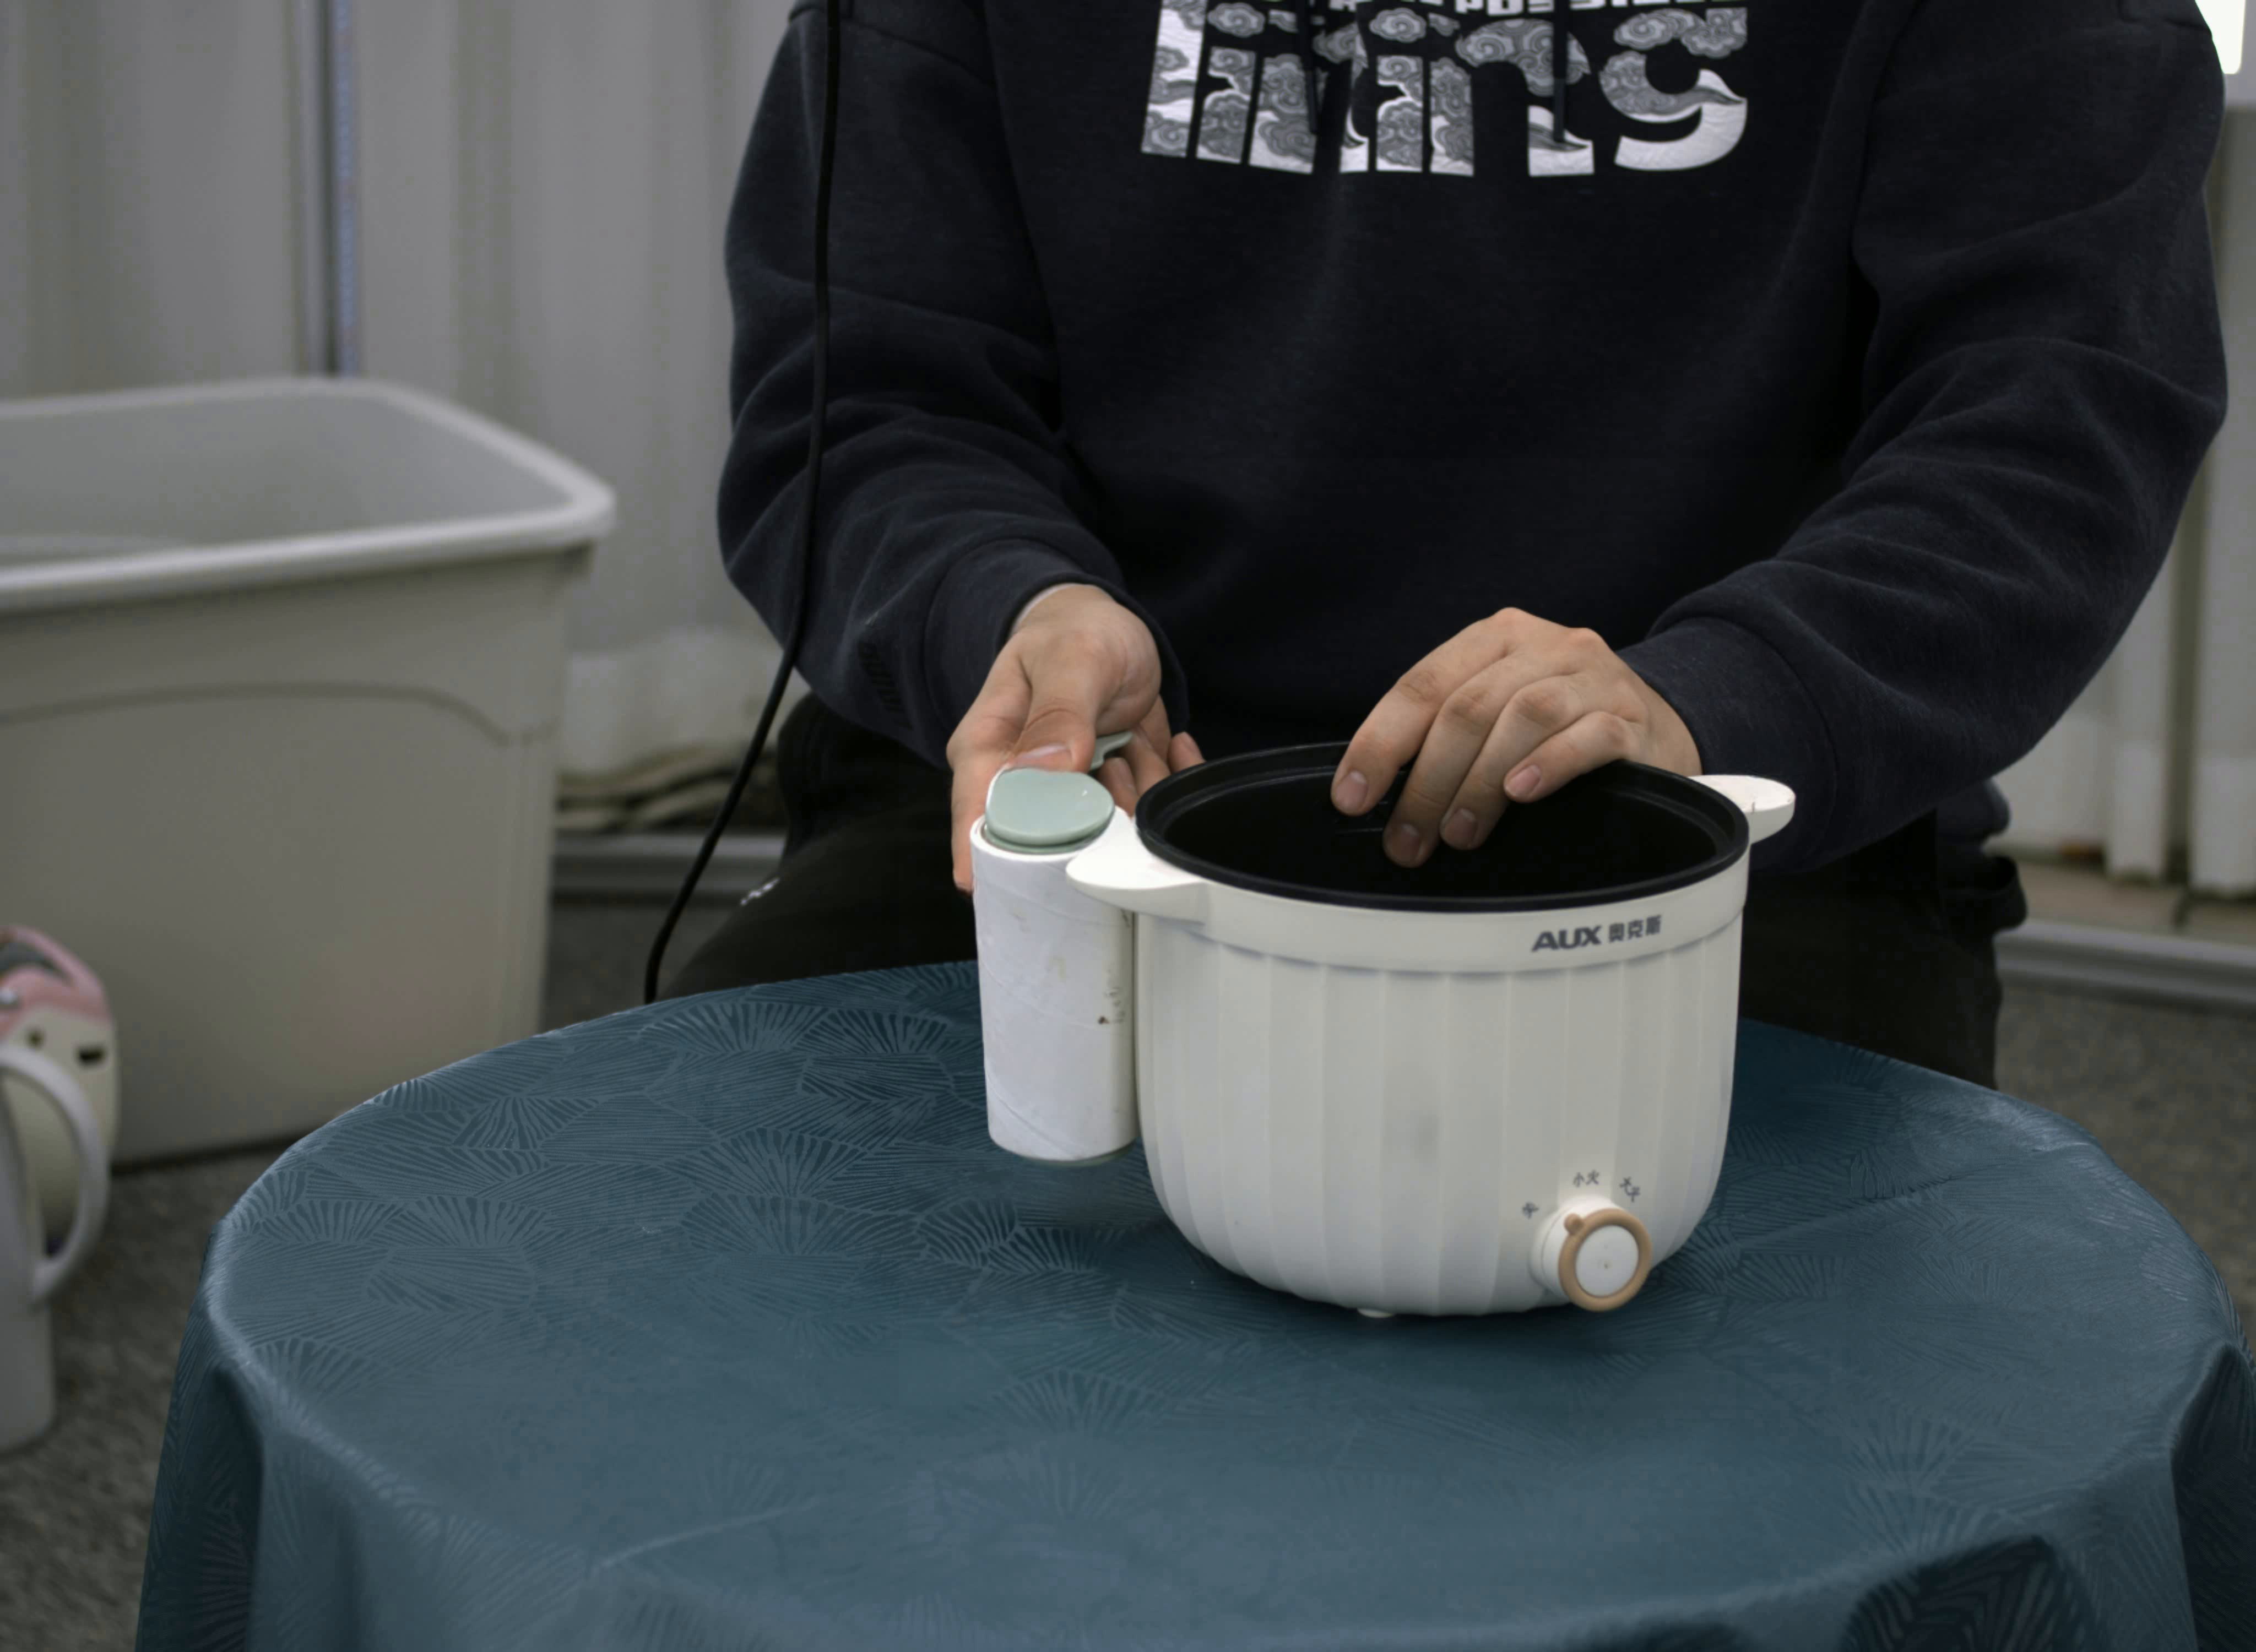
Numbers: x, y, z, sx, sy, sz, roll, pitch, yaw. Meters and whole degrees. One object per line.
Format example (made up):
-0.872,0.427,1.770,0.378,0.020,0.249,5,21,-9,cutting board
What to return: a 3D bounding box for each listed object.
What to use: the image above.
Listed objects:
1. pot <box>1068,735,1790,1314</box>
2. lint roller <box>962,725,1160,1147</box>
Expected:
0.095,0.061,1.557,0.241,0.144,0.188,-9,15,-26,pot
-0.018,0.009,1.627,0.048,0.118,0.196,-5,23,4,lint roller
